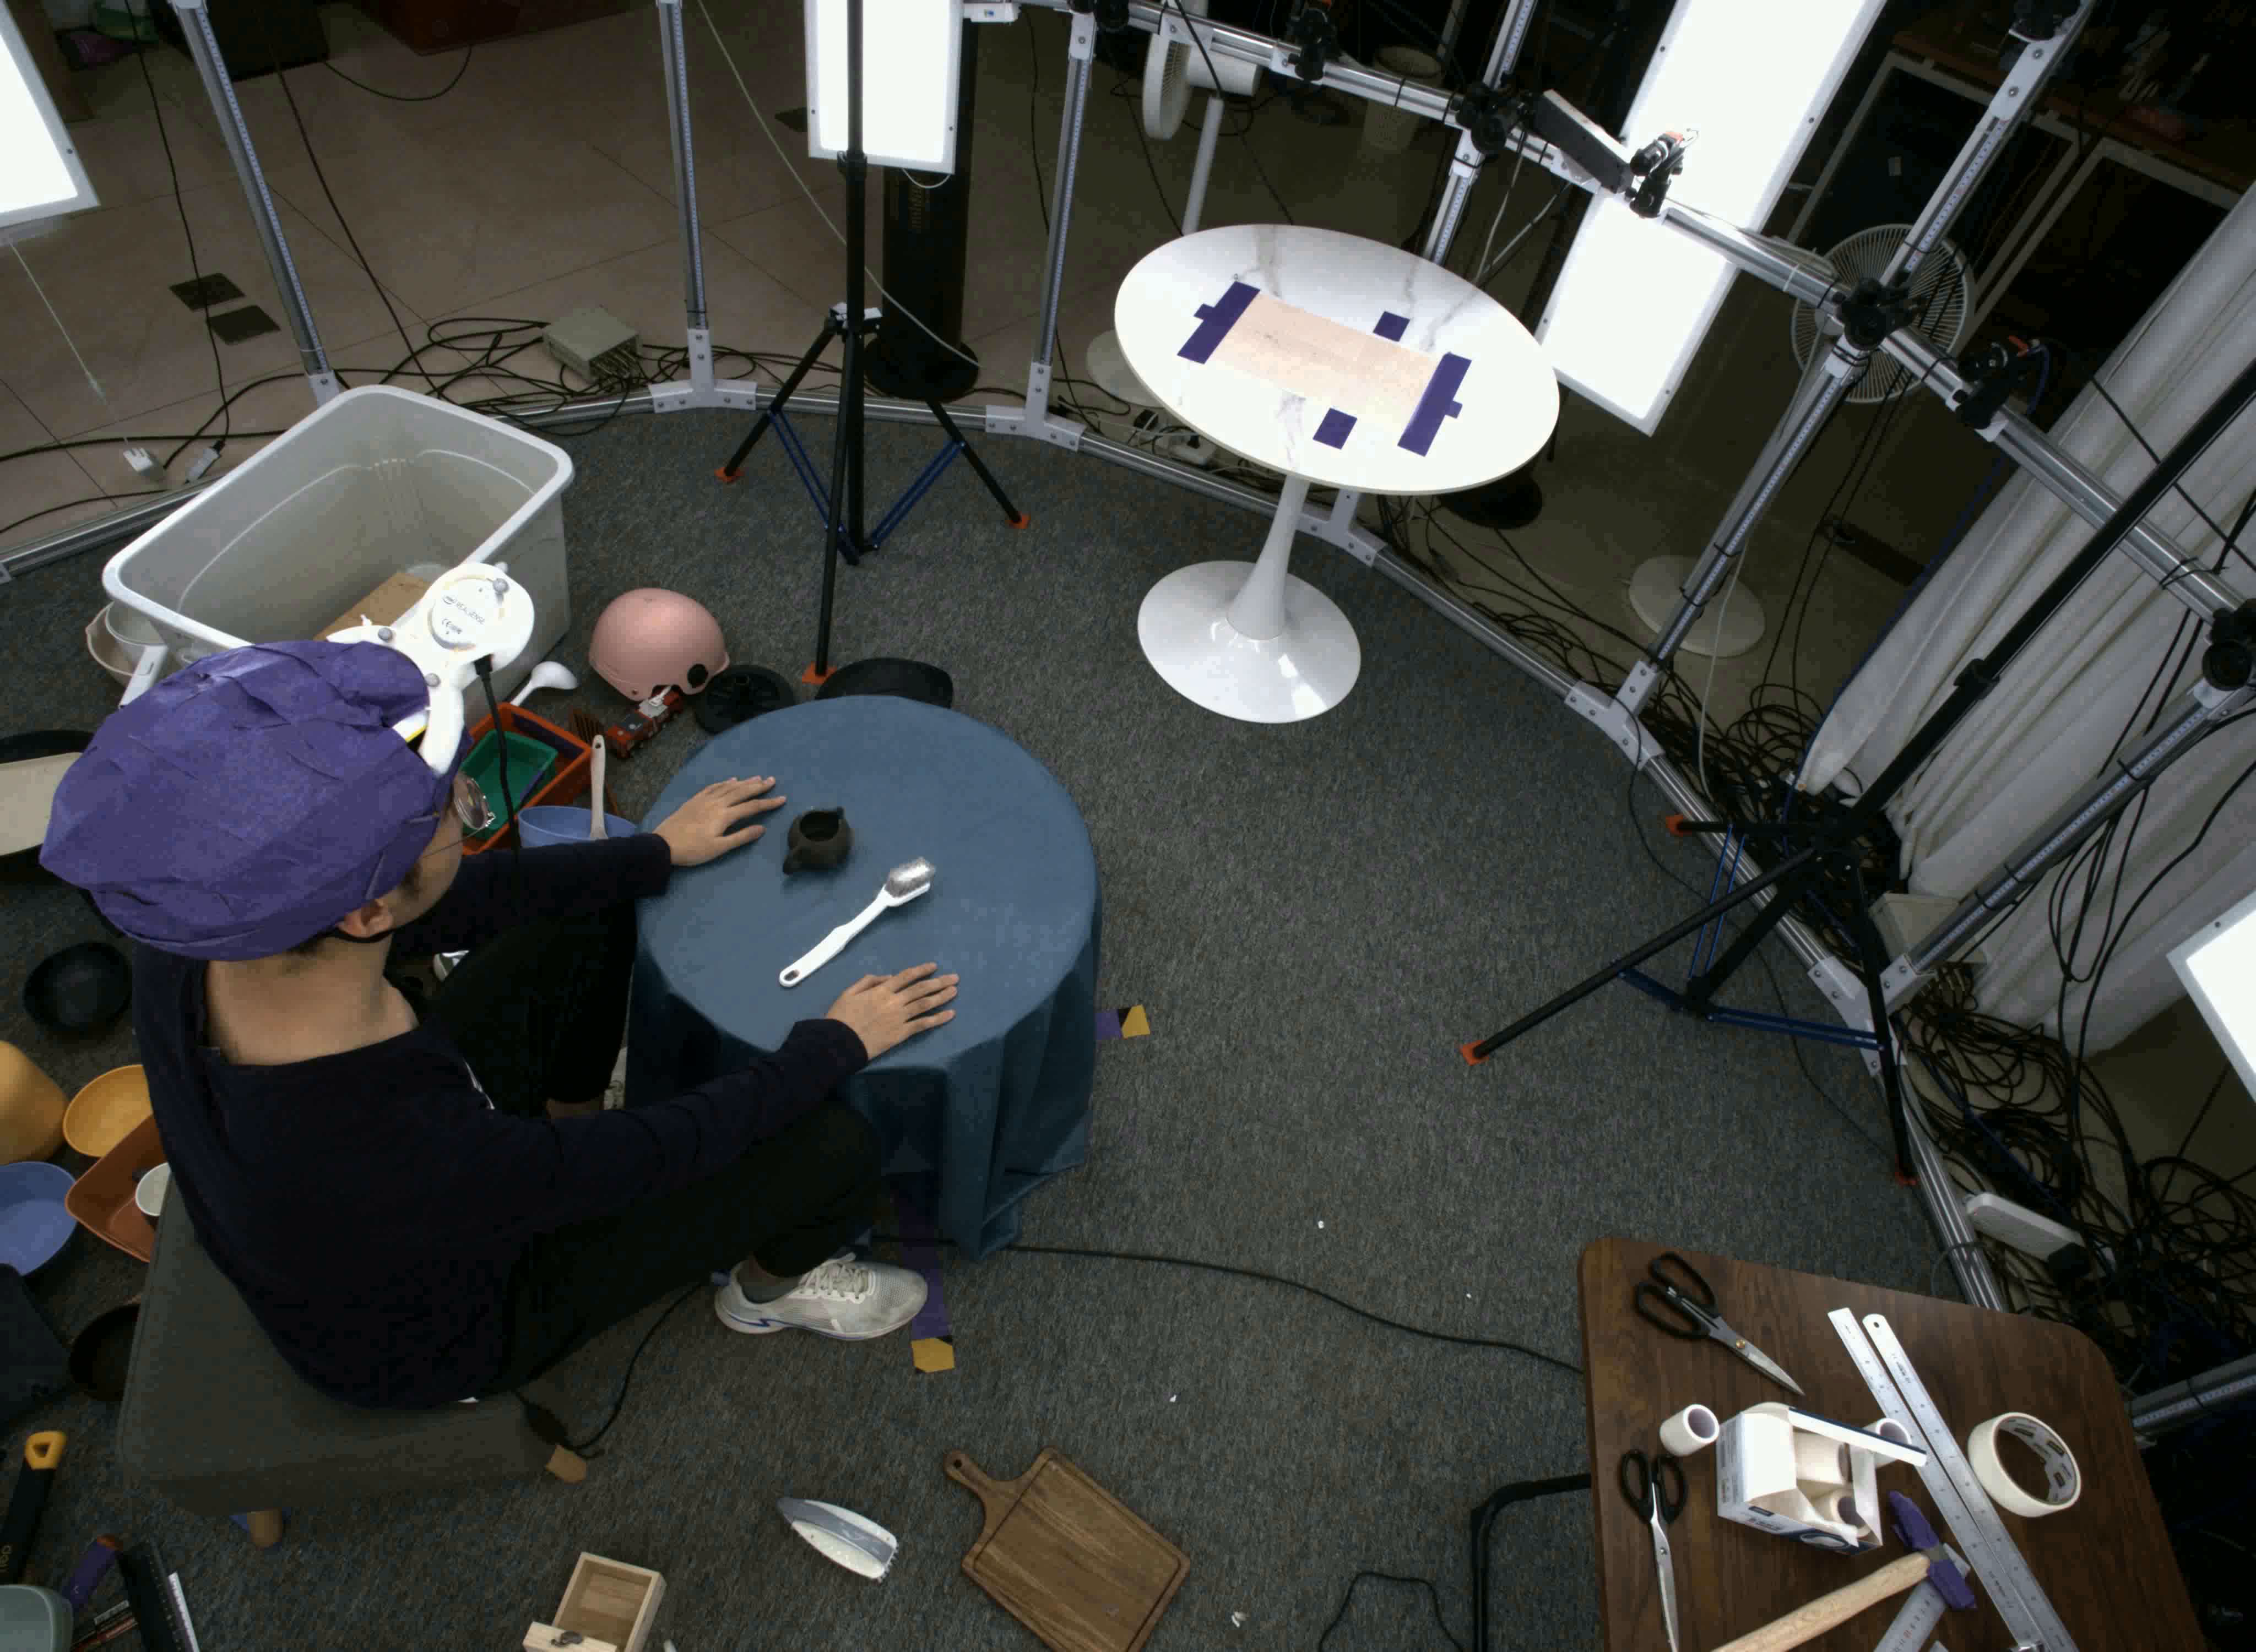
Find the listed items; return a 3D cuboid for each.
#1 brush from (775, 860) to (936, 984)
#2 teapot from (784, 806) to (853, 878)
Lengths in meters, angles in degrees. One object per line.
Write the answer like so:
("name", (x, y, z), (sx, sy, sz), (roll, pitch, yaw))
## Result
("brush", (-0.341, 0.115, 1.630), (0.034, 0.051, 0.244), (44, 56, 16))
("teapot", (-0.406, 0.022, 1.681), (0.081, 0.054, 0.114), (32, 53, 11))
